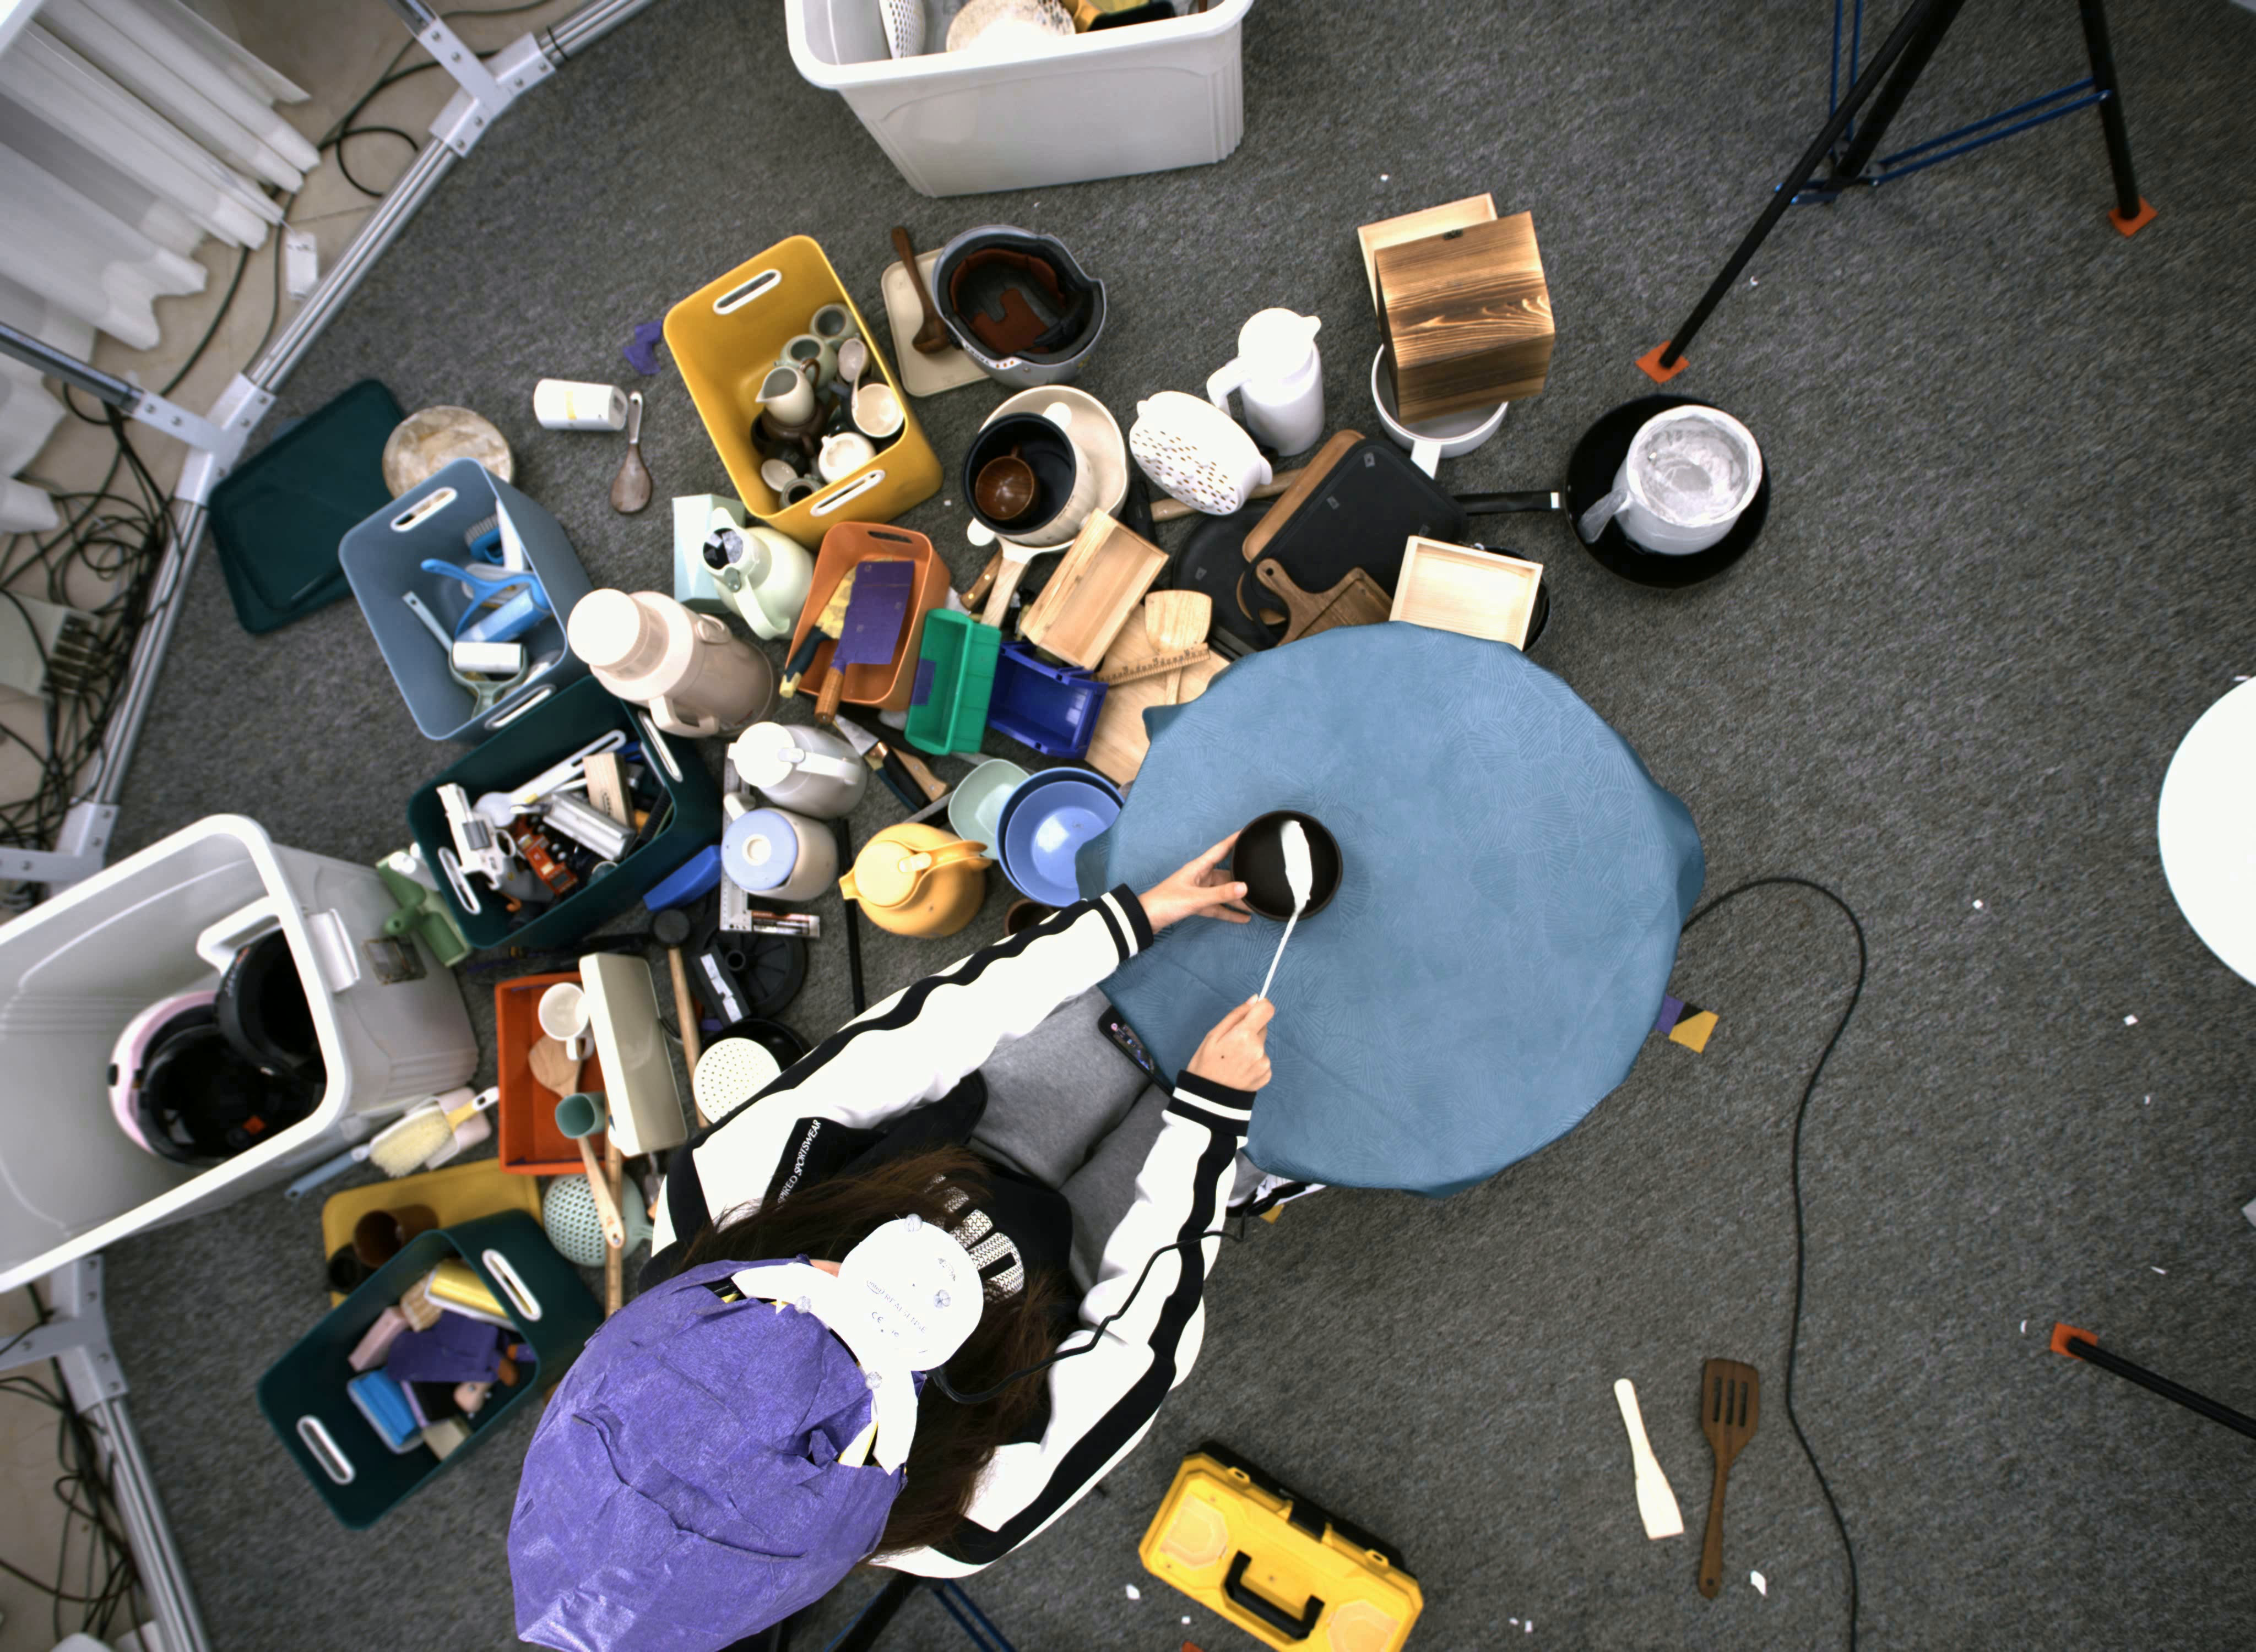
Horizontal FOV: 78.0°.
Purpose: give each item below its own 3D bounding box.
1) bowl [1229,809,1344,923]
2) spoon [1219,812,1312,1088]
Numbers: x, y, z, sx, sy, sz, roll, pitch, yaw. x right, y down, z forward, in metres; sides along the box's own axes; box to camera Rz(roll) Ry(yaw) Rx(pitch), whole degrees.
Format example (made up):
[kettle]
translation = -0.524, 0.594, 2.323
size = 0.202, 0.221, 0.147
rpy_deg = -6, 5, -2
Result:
[bowl]
translation = 0.166, 0.043, 1.444
size = 0.118, 0.070, 0.117
rpy_deg = -1, 86, 10
[spoon]
translation = 0.123, 0.123, 1.383
size = 0.059, 0.100, 0.278
rpy_deg = 23, 95, -1
